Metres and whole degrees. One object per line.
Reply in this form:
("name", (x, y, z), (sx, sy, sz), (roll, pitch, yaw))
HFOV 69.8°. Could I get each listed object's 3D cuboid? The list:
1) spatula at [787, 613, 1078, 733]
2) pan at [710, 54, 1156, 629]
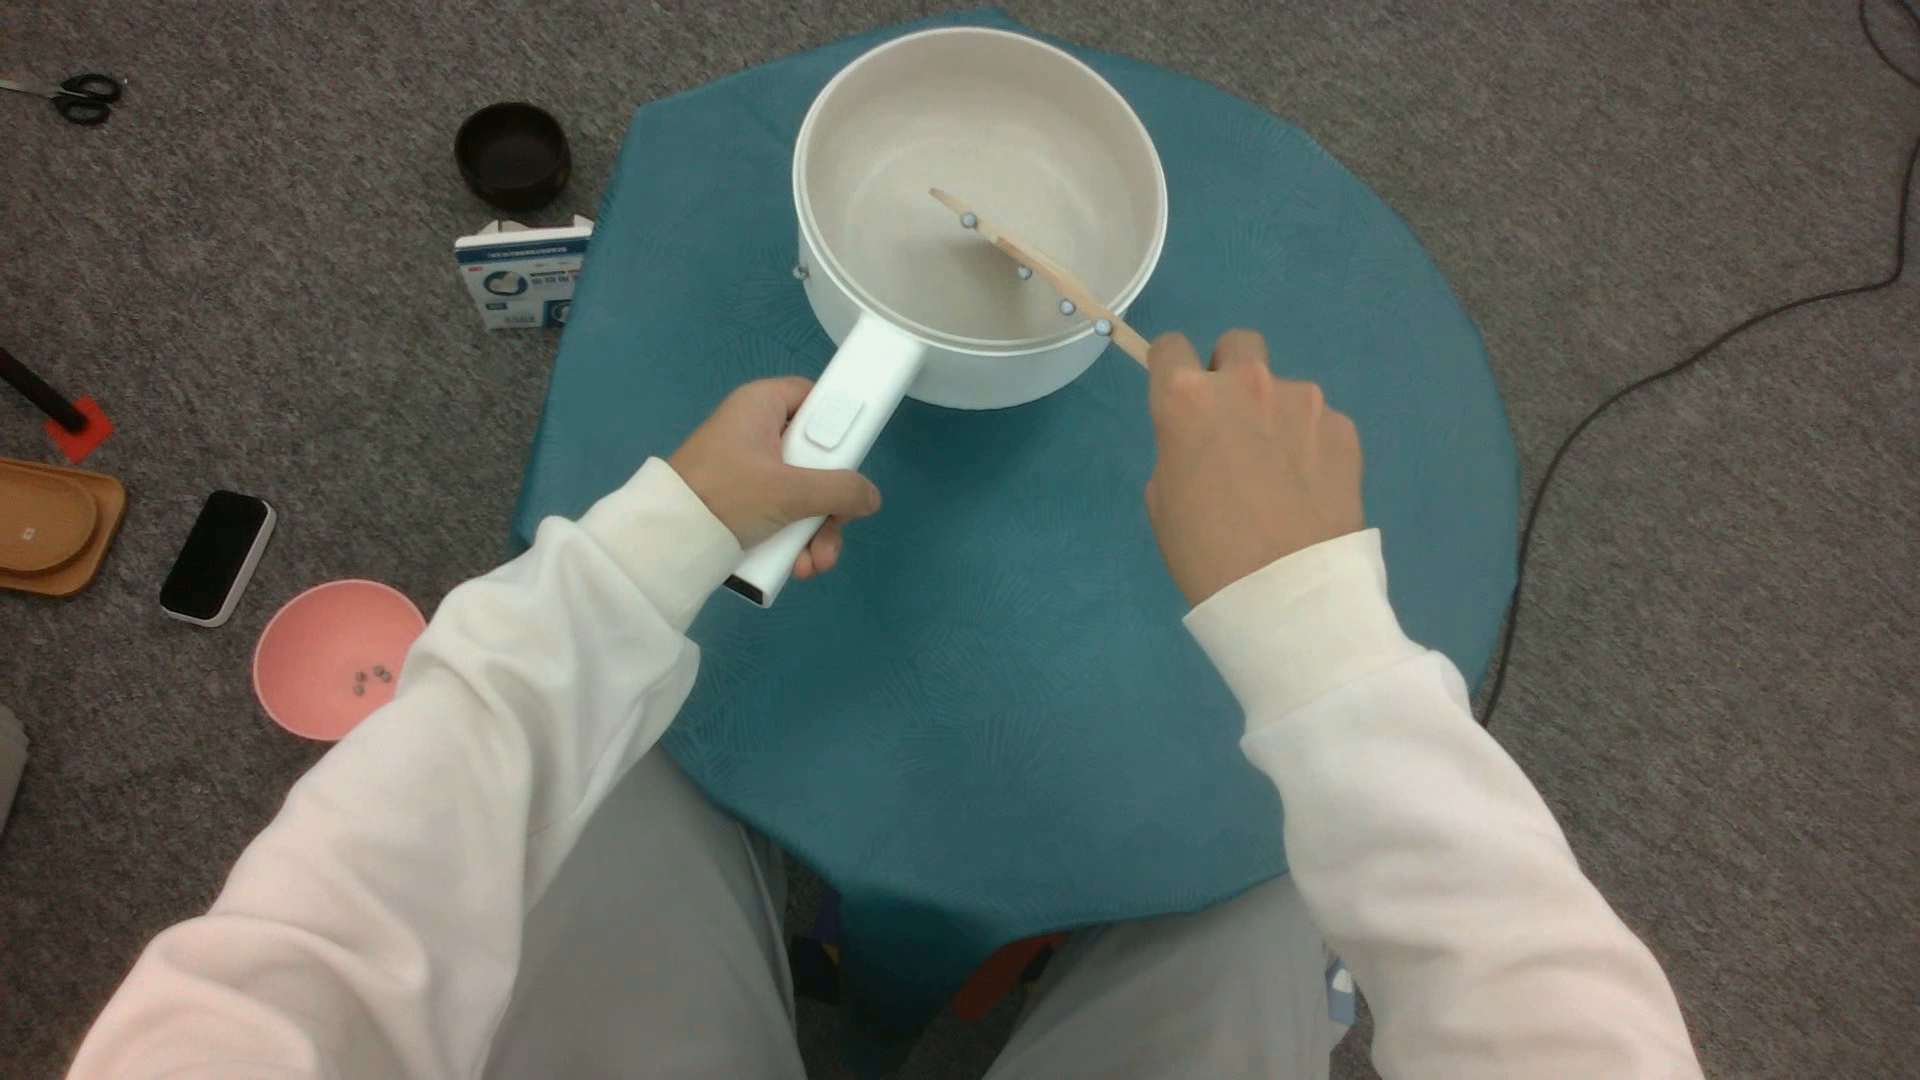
("spatula", (-0.031, 0.123, 1.365), (0.293, 0.010, 0.072), (15, 68, 3))
("pan", (-0.030, -0.103, 0.769), (0.201, 0.102, 0.356), (28, 71, 1))
